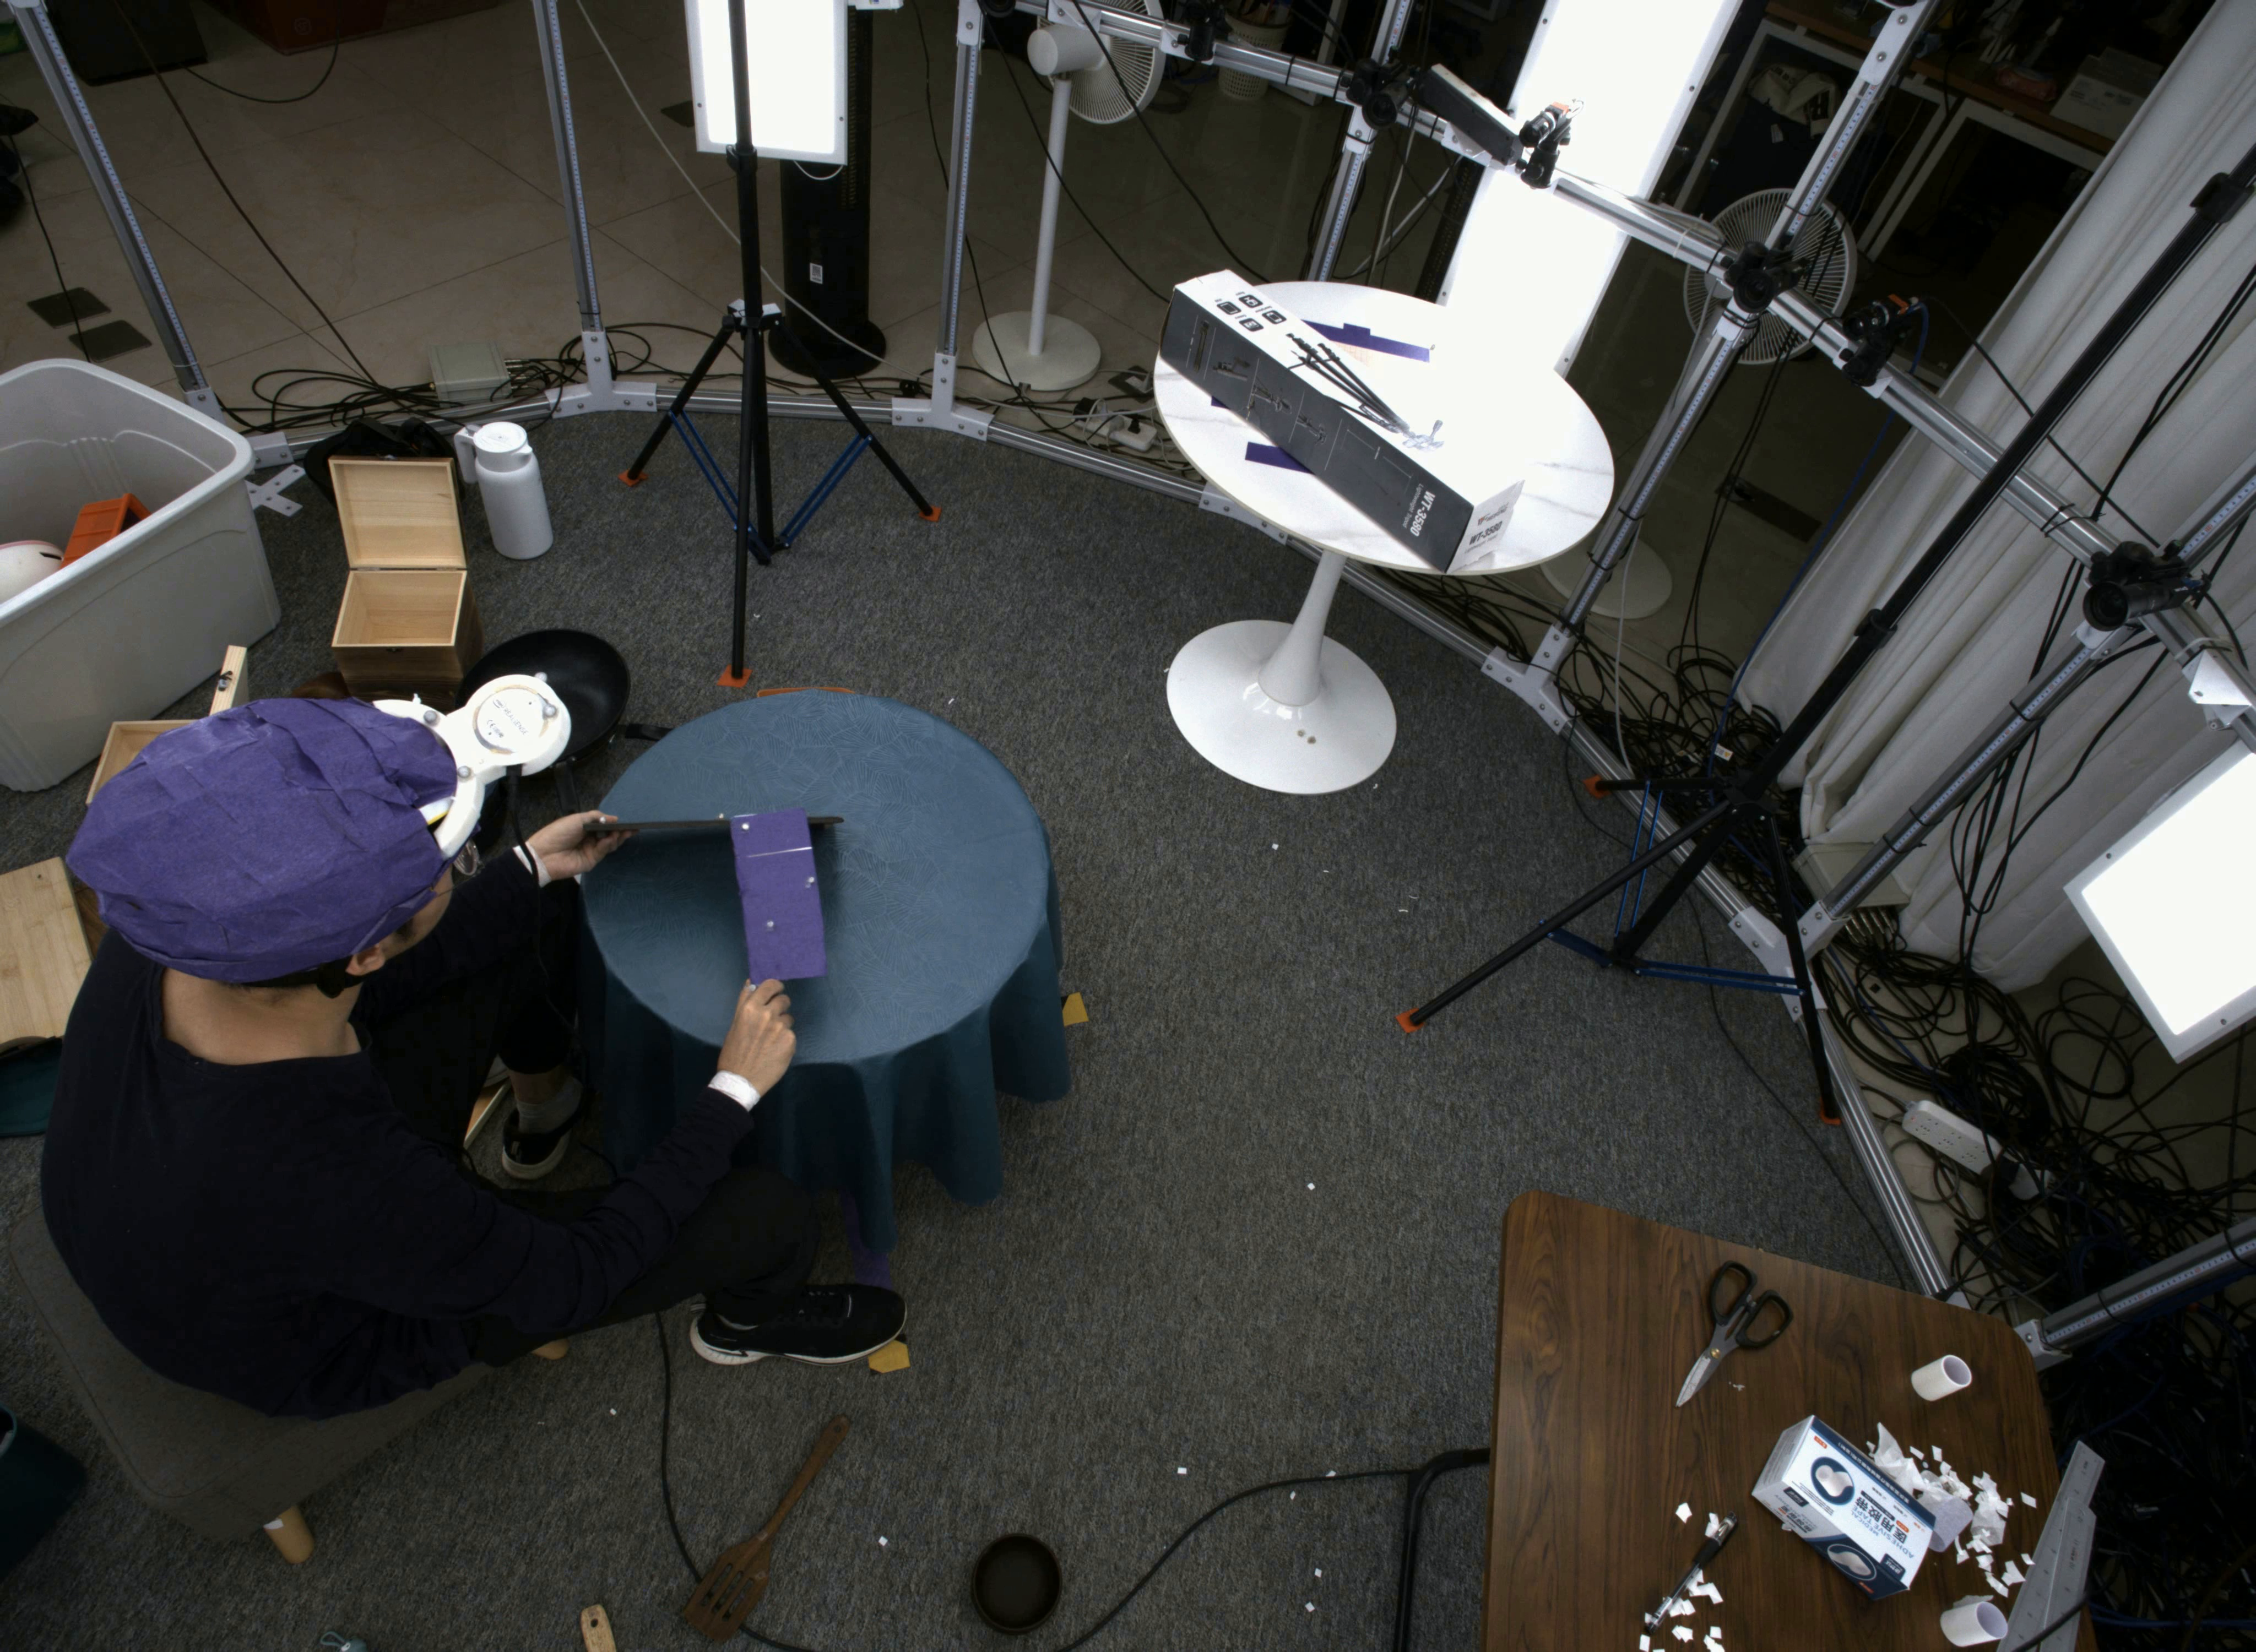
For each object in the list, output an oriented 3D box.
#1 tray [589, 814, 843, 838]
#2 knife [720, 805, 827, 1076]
[{"bbox_3d":[-0.517,-0.002,1.624,0.307,0.167,0.019,-3,91,-18],"label":"tray"},{"bbox_3d":[-0.406,0.126,1.525,0.104,0.032,0.315,-7,80,-22],"label":"knife"}]
